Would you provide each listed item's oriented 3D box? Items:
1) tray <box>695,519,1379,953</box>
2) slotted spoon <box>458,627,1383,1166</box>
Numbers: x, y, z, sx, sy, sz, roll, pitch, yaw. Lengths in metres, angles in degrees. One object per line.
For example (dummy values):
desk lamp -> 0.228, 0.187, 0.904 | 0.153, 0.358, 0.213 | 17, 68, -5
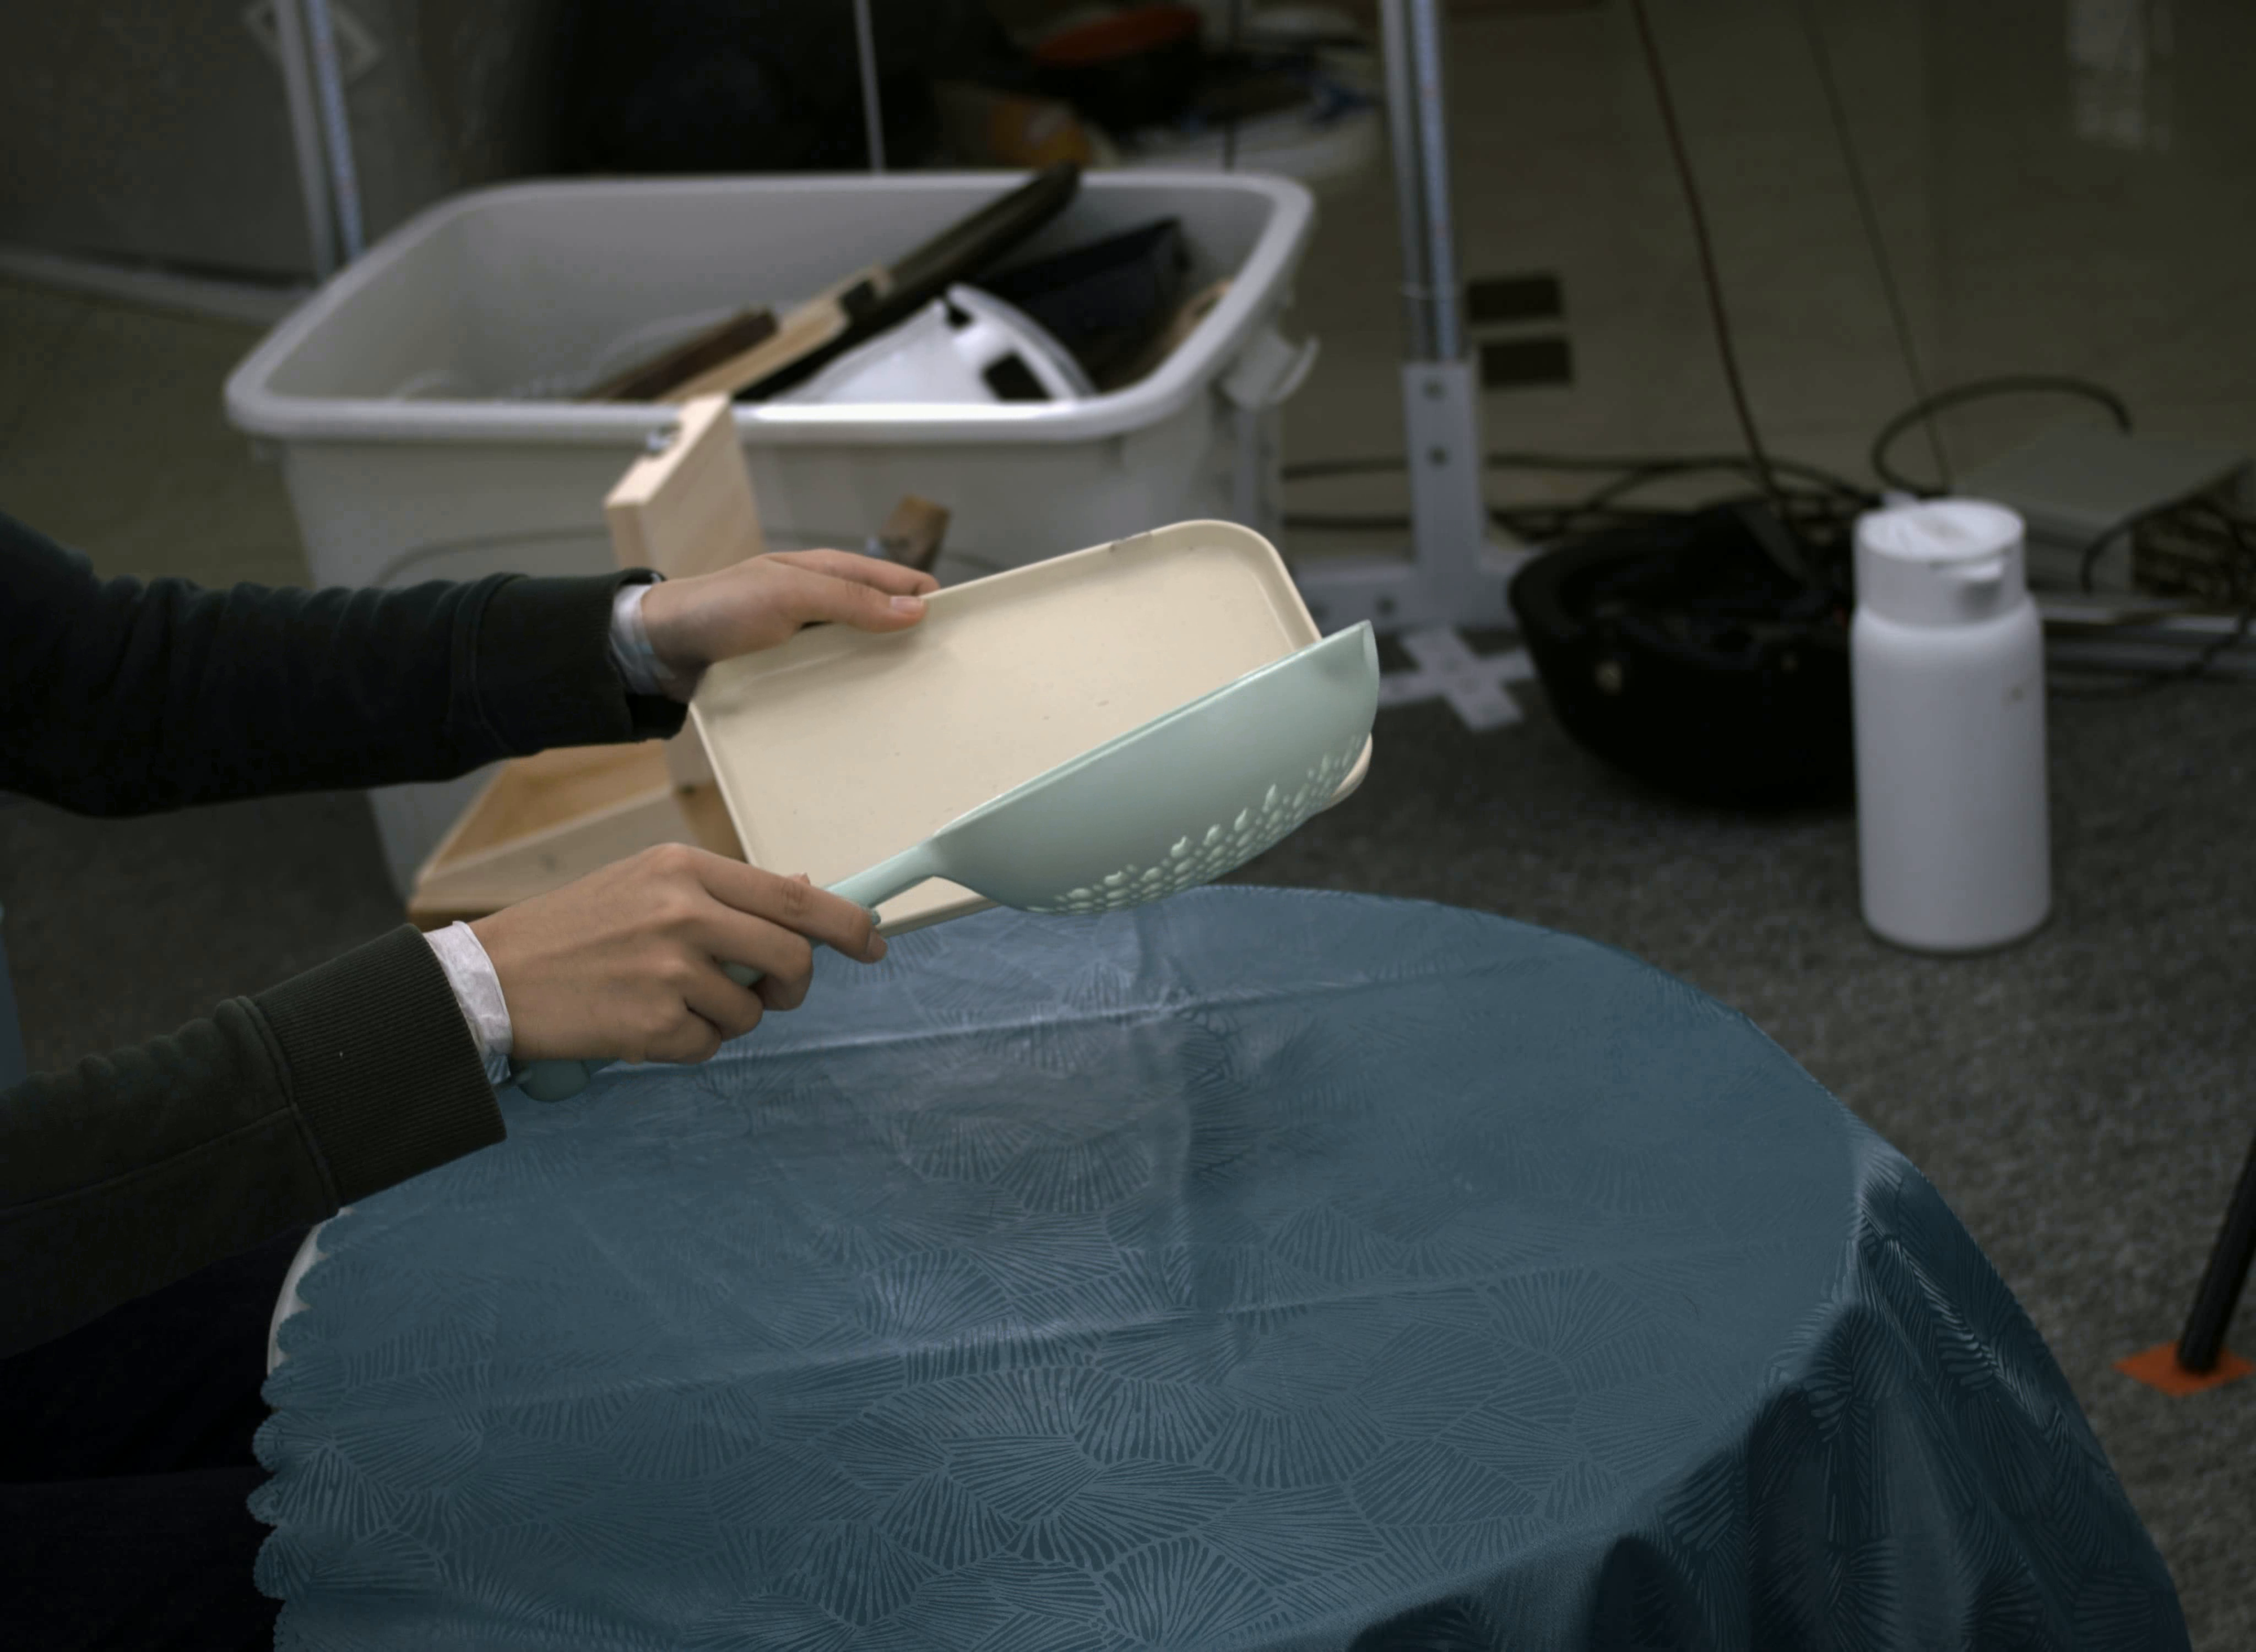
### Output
tray -> -0.036, -0.034, 2.157 | 0.239, 0.018, 0.168 | -17, 46, -8
slotted spoon -> -0.072, 0.023, 1.952 | 0.358, 0.075, 0.169 | -19, 0, -8
